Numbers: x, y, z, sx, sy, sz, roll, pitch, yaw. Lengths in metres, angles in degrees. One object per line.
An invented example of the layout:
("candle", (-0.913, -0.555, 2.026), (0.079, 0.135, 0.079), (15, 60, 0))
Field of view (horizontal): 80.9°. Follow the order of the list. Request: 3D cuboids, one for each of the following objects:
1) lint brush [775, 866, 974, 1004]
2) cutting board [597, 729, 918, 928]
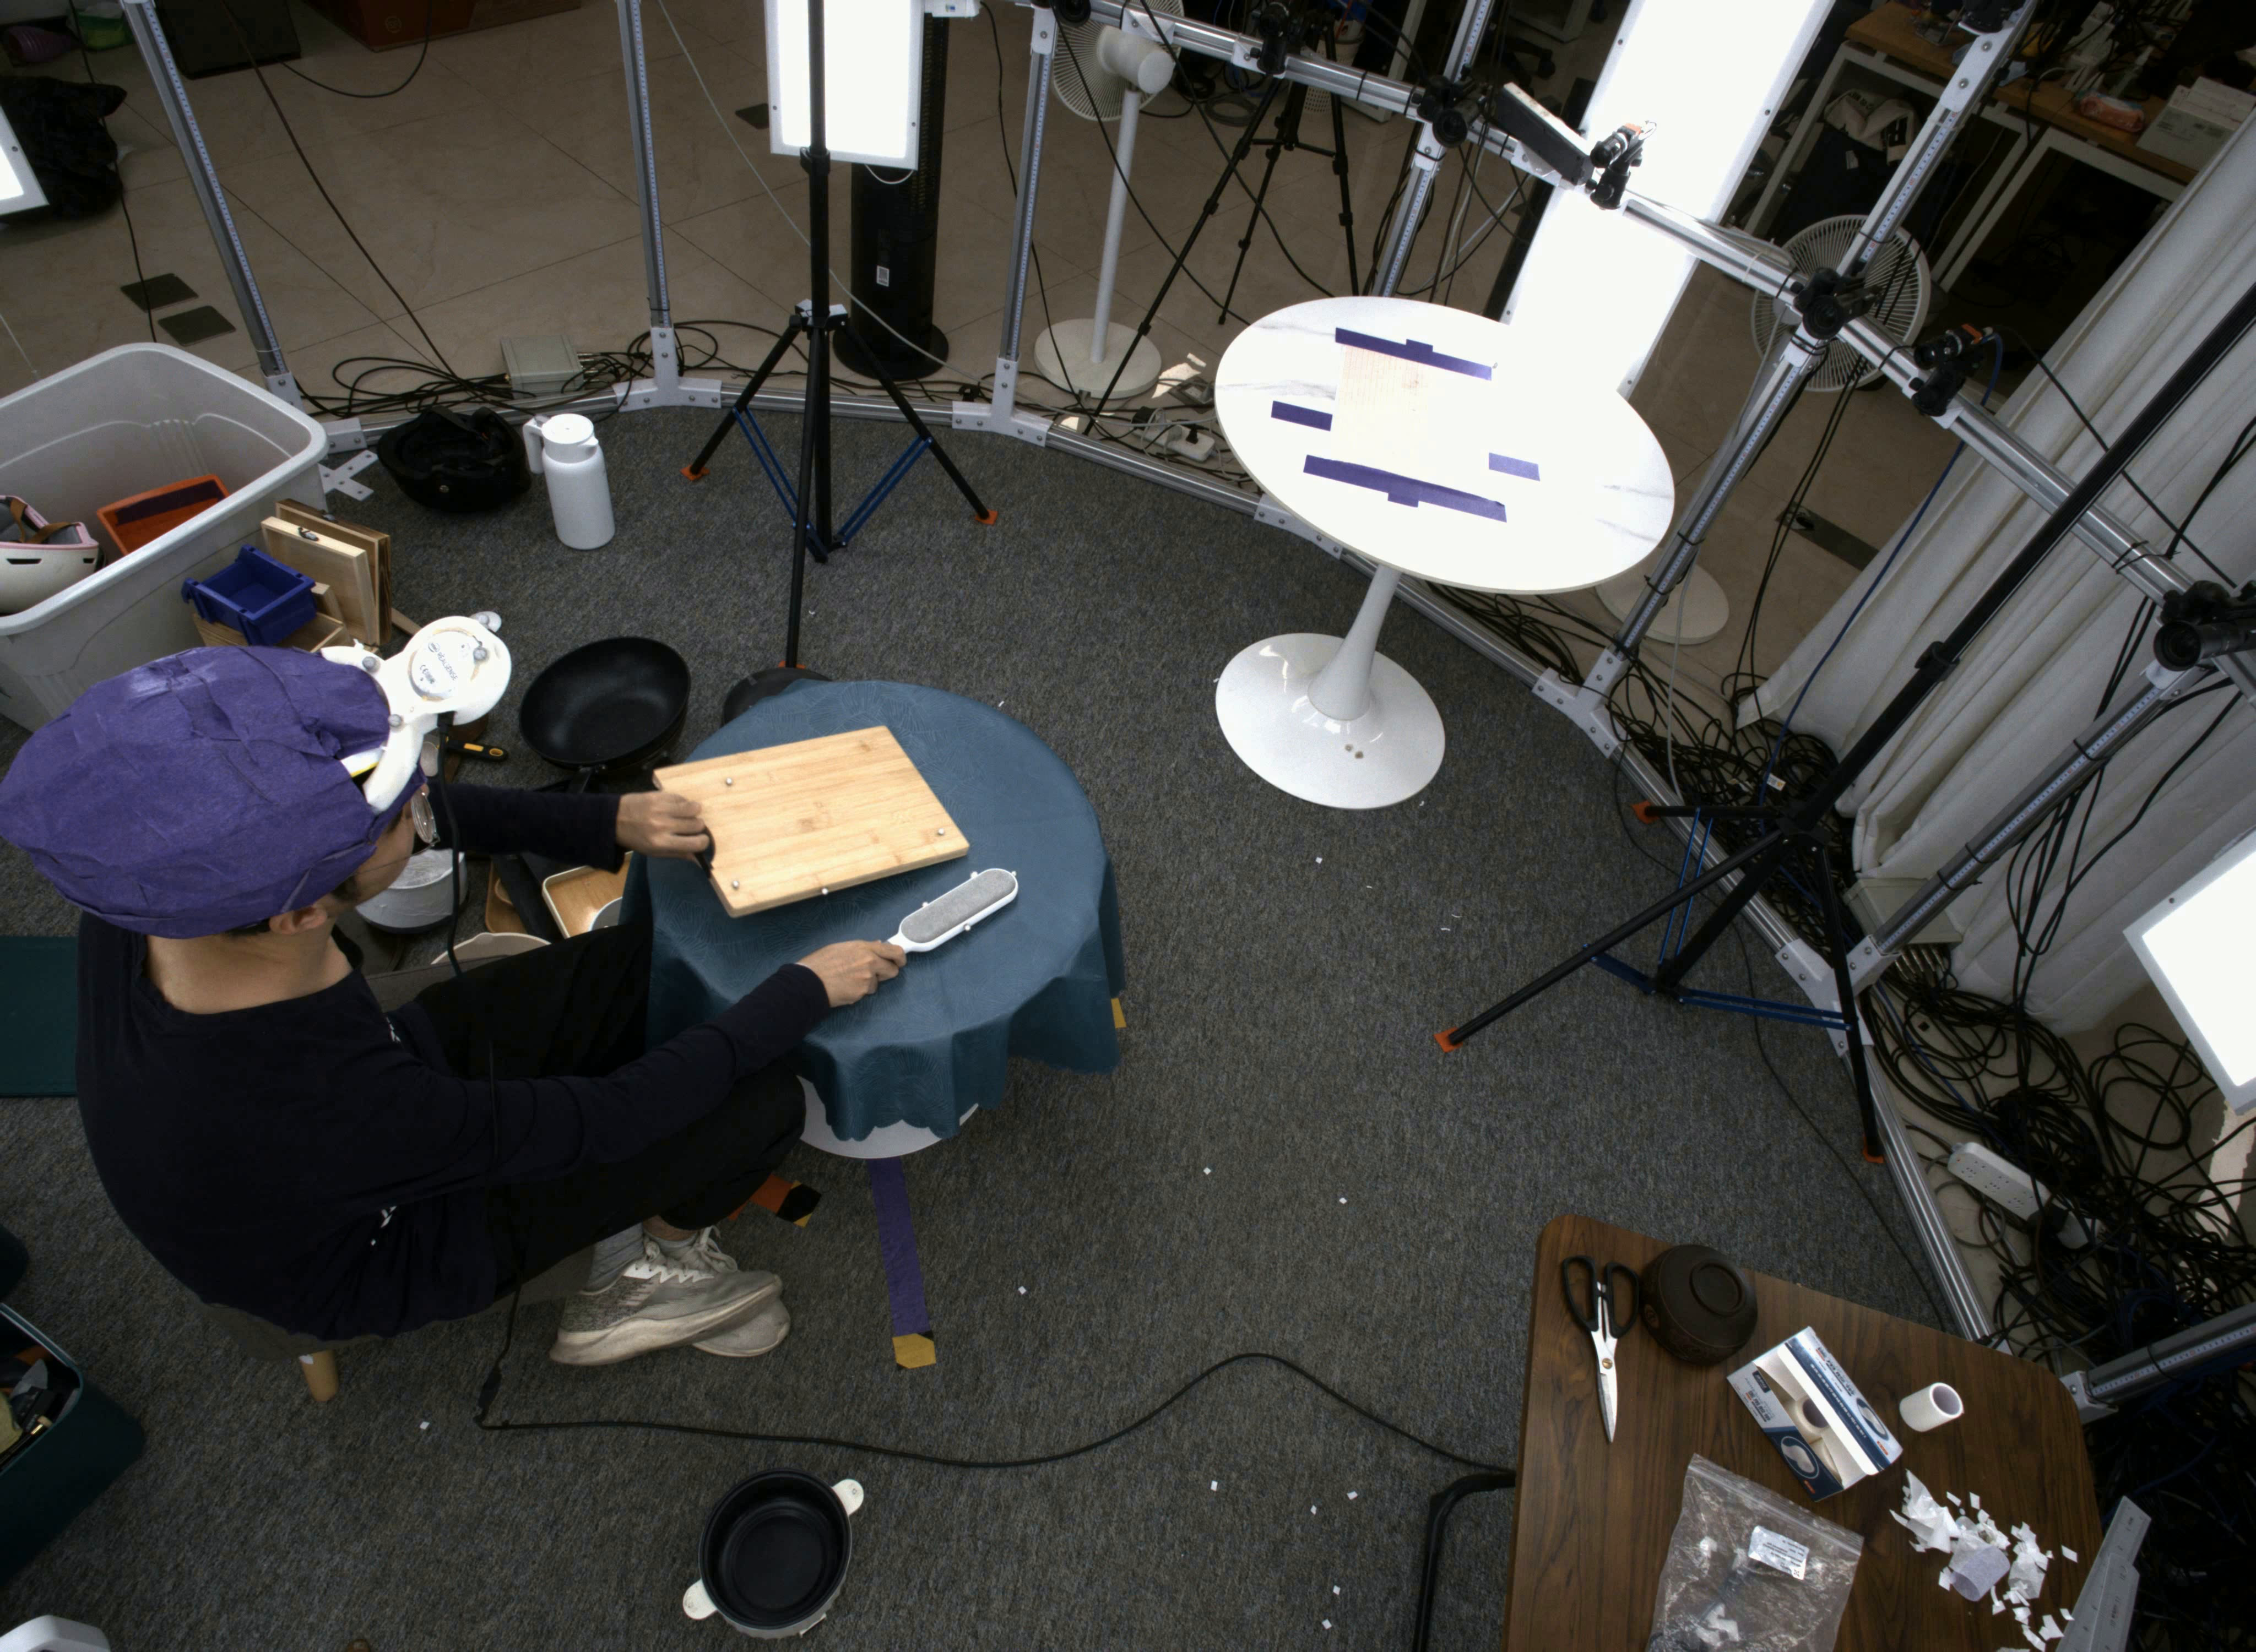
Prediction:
("lint brush", (-0.315, 0.132, 1.636), (0.058, 0.021, 0.310), (41, 51, 19))
("cutting board", (-0.473, -0.009, 1.665), (0.352, 0.024, 0.244), (-19, 59, -42))
